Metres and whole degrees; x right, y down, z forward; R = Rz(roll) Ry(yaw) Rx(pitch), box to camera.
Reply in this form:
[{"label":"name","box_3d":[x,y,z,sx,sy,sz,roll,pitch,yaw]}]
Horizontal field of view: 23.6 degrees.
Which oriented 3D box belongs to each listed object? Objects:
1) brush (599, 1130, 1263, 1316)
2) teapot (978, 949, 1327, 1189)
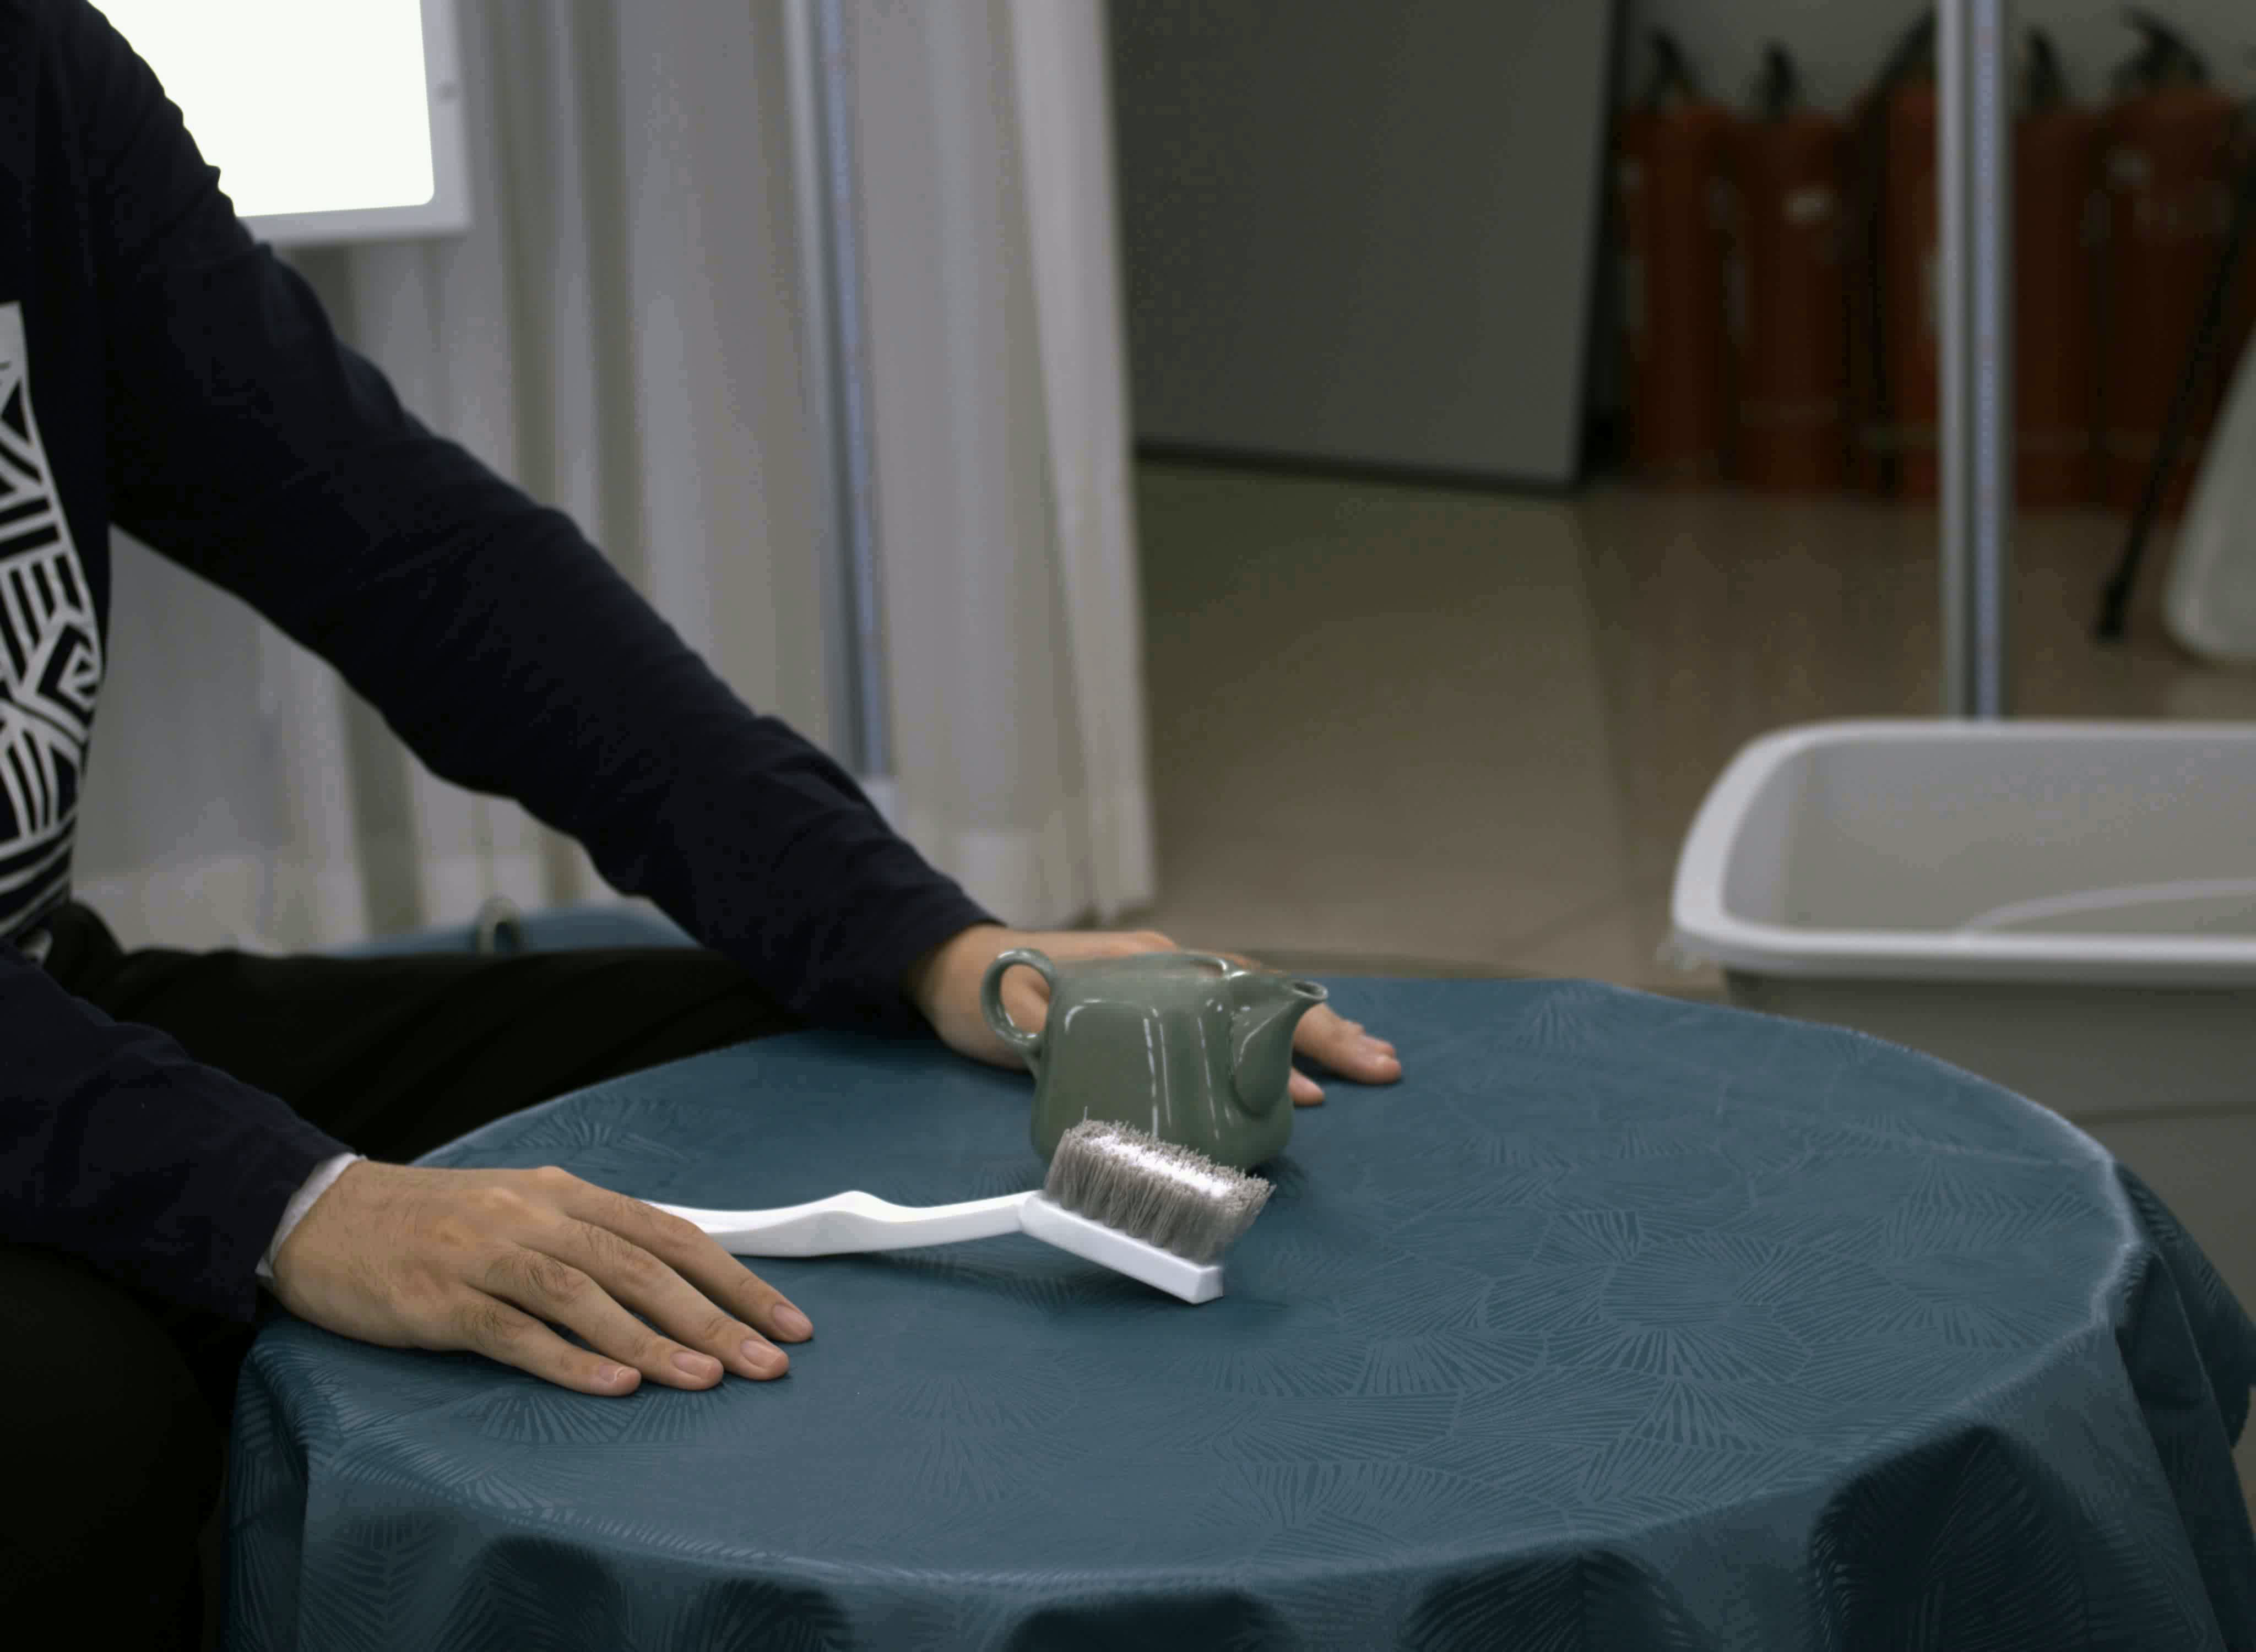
[{"label":"brush","box_3d":[-0.068,0.118,1.714,0.244,0.051,0.034,4,20,30]},{"label":"teapot","box_3d":[0.010,0.081,1.783,0.133,0.076,0.078,3,15,31]}]
